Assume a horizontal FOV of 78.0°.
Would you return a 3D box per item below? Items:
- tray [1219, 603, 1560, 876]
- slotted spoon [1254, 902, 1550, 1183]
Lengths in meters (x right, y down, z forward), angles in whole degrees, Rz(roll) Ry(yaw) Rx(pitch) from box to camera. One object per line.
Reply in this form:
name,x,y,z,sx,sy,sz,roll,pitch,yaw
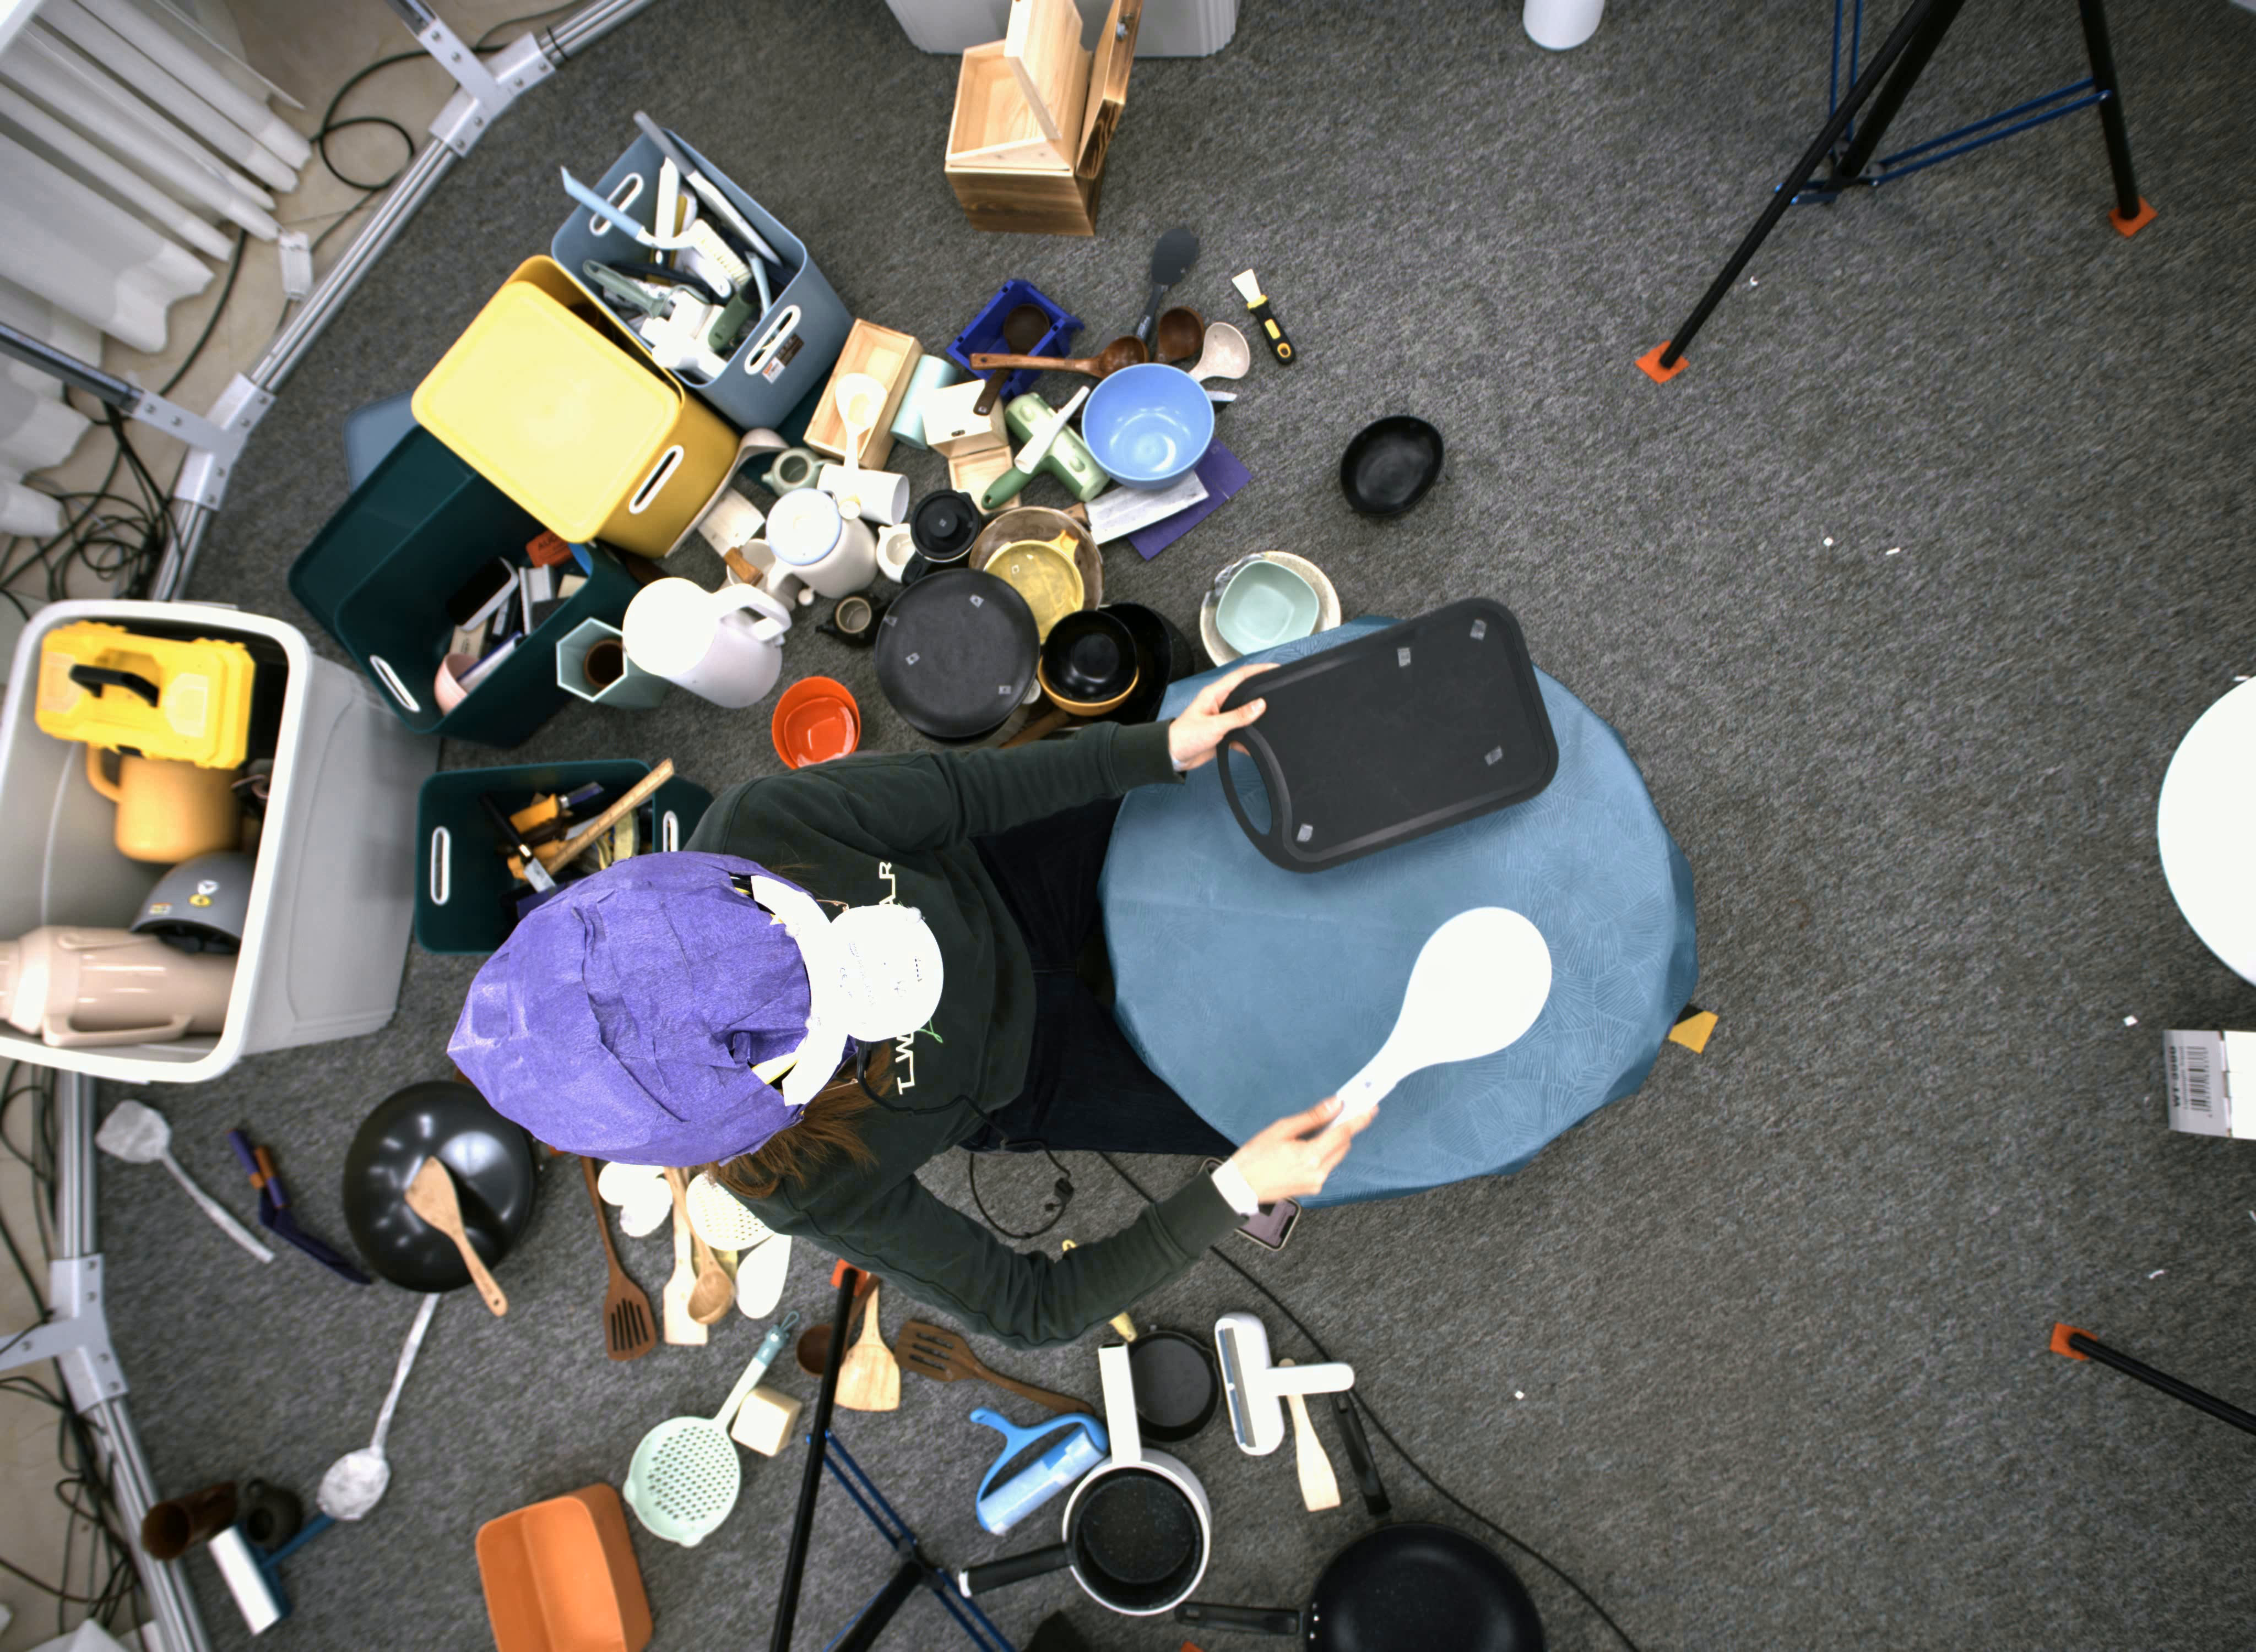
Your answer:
tray,0.254,-0.080,1.362,0.327,0.009,0.212,-19,101,8
slotted spoon,0.246,0.209,1.274,0.353,0.046,0.133,-43,45,12
